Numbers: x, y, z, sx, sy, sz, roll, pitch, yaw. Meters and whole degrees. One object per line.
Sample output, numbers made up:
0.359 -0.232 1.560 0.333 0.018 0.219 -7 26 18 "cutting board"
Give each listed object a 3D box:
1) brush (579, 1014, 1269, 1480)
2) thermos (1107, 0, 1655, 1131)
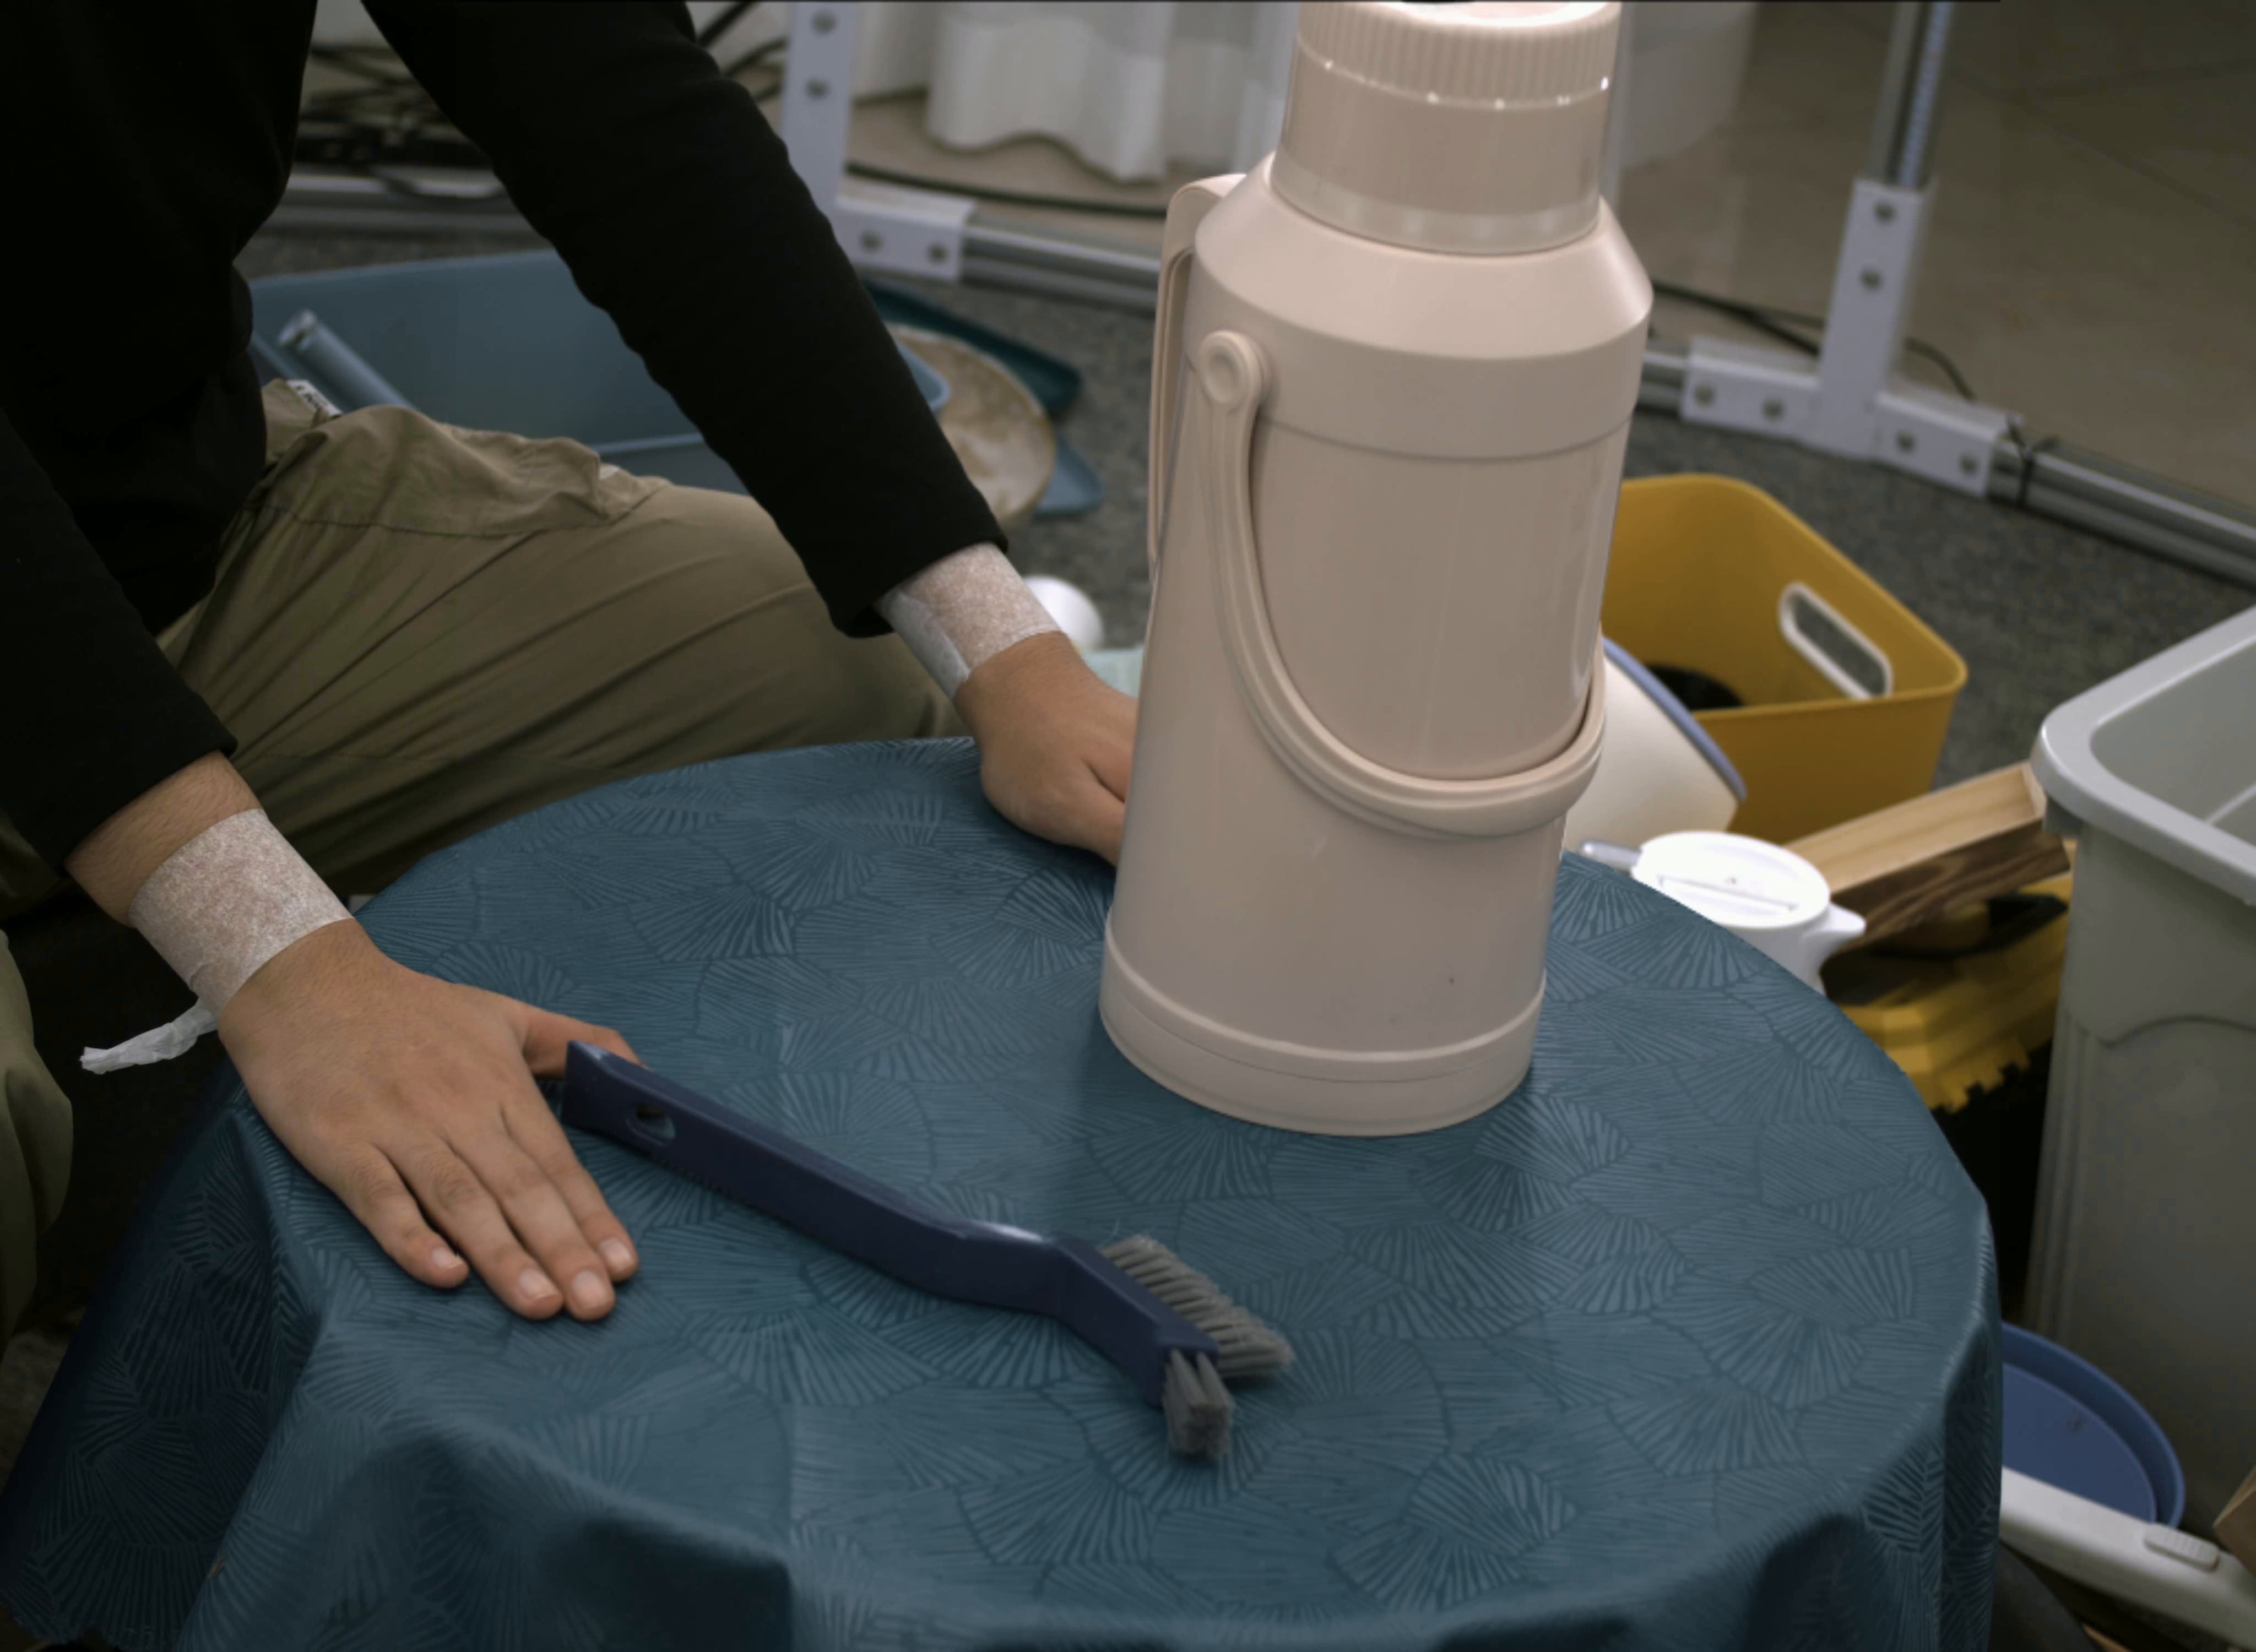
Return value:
-0.079 0.133 1.729 0.274 0.033 0.095 21 29 21 "brush"
0.082 -0.110 1.843 0.174 0.405 0.209 -18 36 -37 "thermos"
